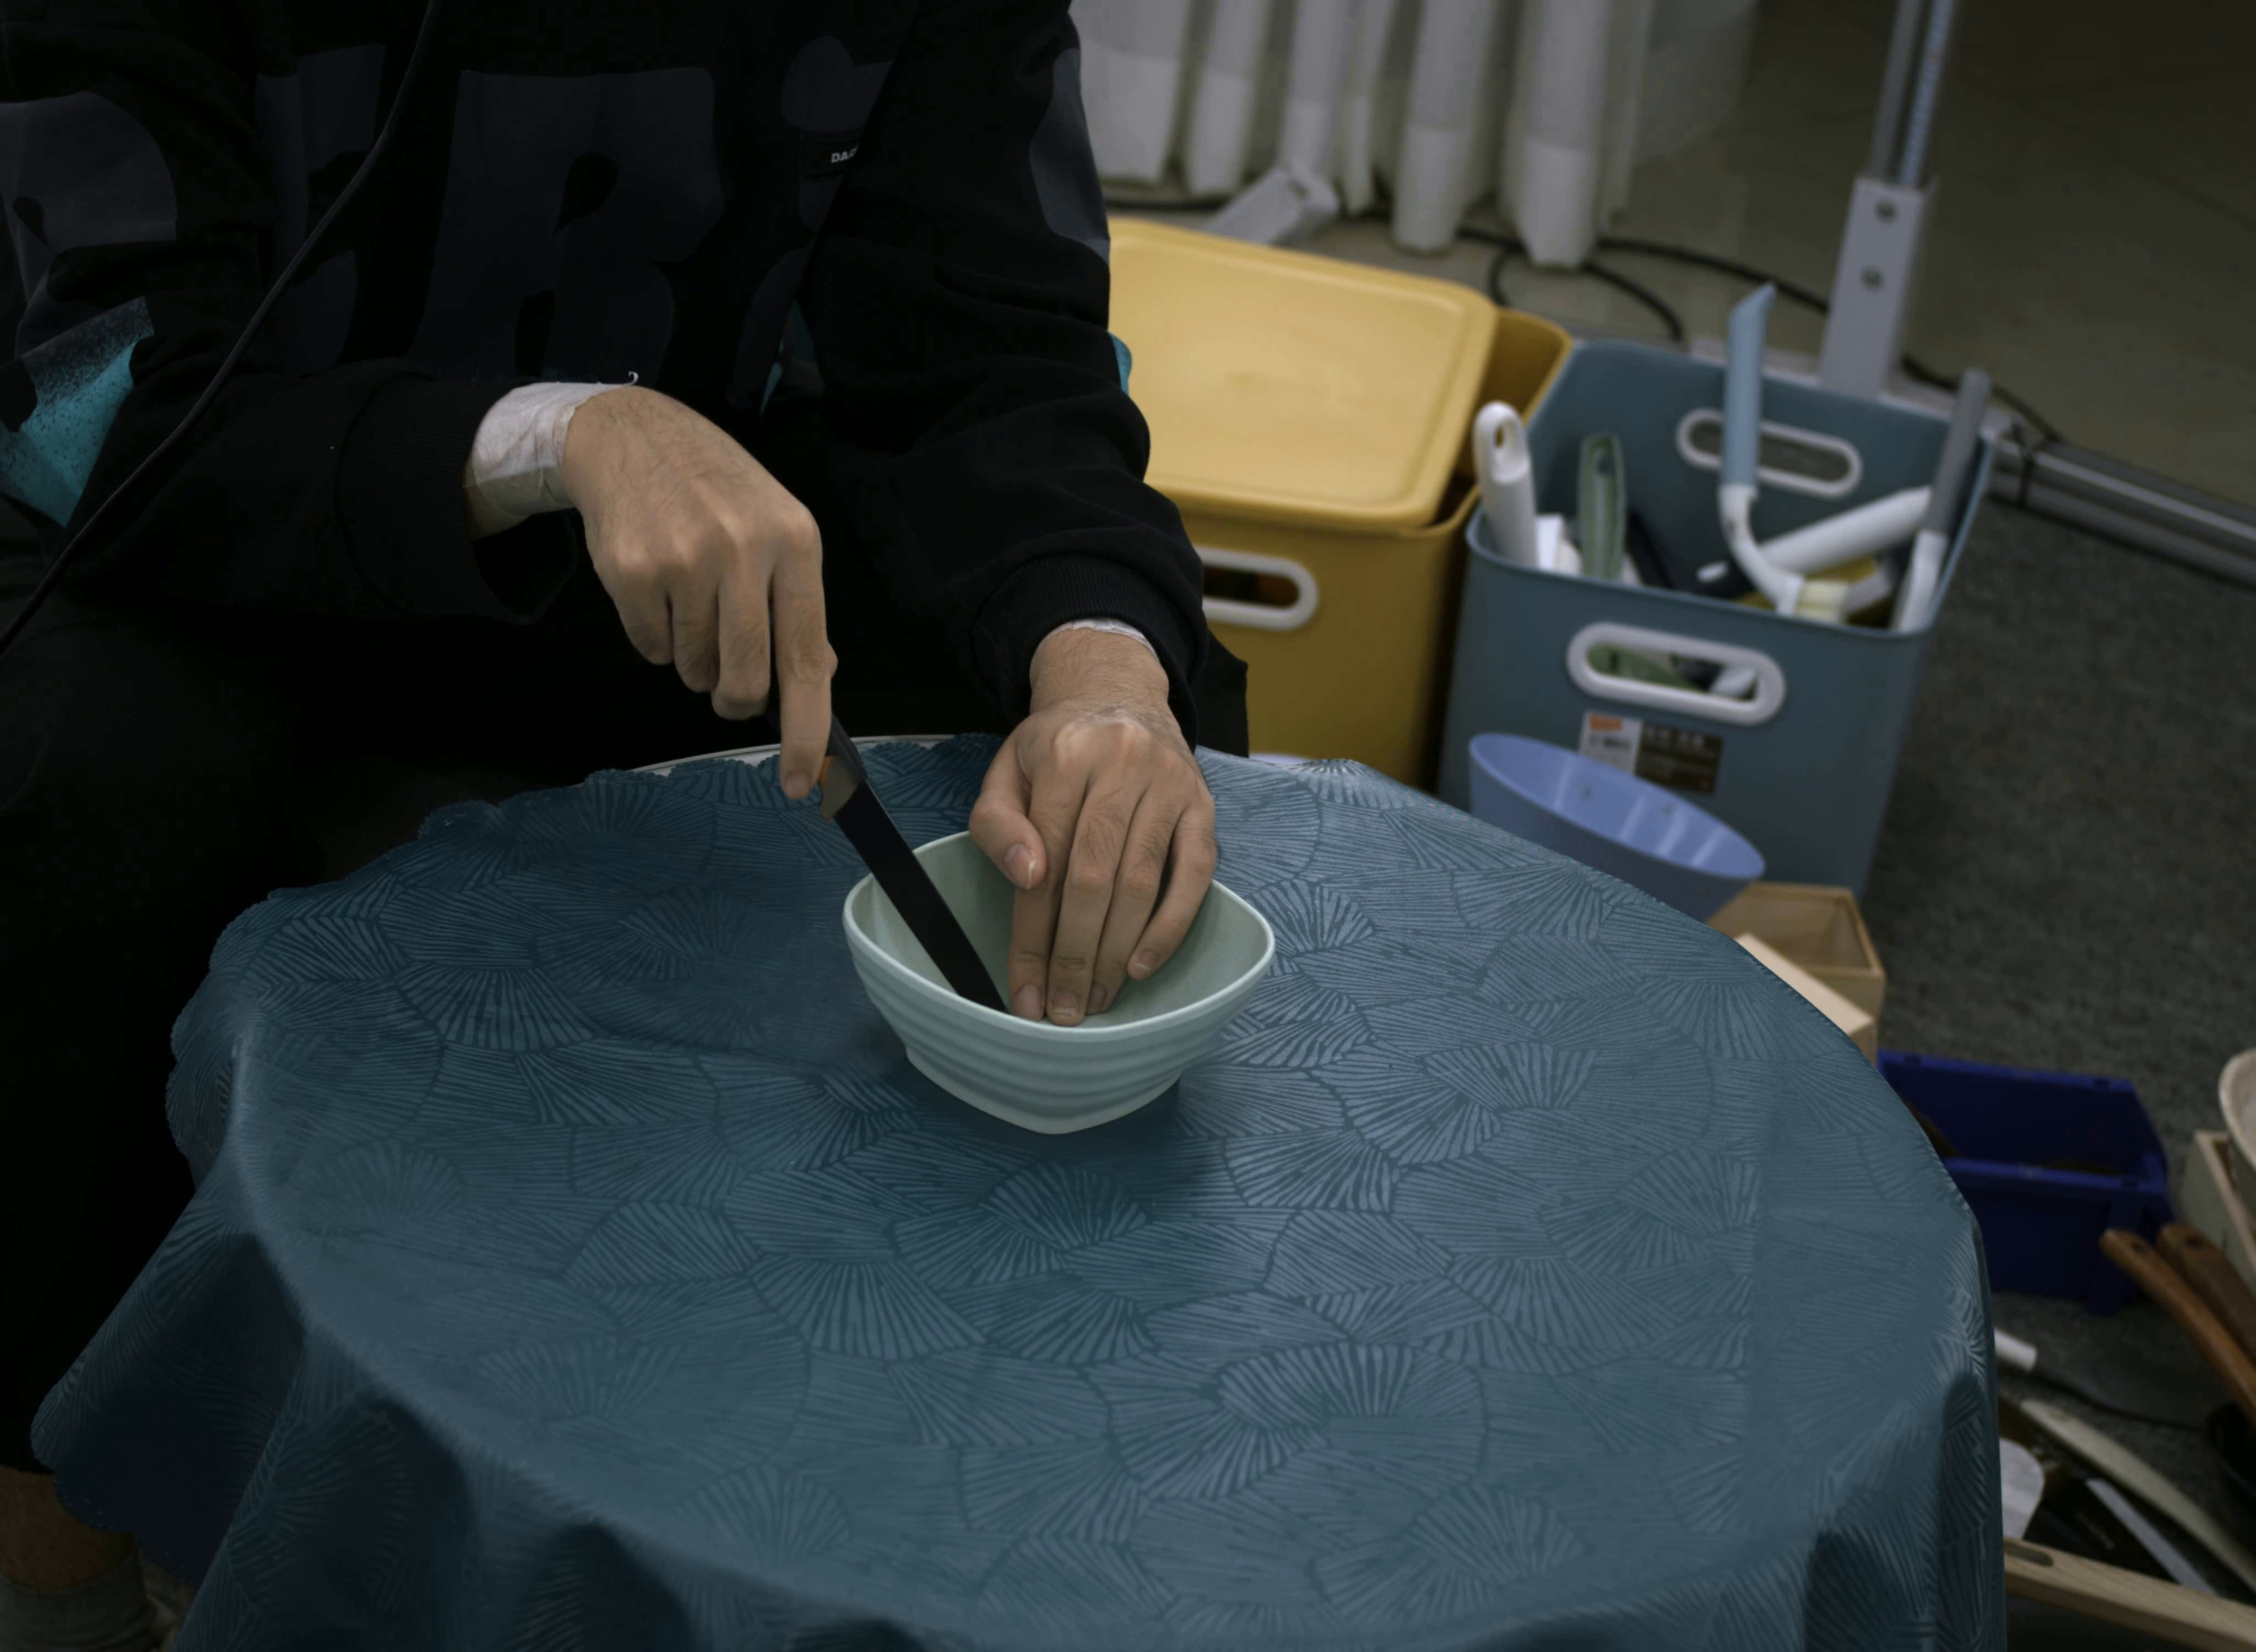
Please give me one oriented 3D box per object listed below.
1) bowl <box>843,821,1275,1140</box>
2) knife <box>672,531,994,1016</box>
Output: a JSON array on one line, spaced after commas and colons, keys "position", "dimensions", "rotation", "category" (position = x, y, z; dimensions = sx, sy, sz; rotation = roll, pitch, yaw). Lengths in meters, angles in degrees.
[{"position": [-0.026, 0.060, 1.862], "dimensions": [0.151, 0.058, 0.152], "rotation": [4, 28, -3], "category": "bowl"}, {"position": [-0.095, -0.005, 1.858], "dimensions": [0.226, 0.026, 0.017], "rotation": [58, 30, 3], "category": "knife"}]
